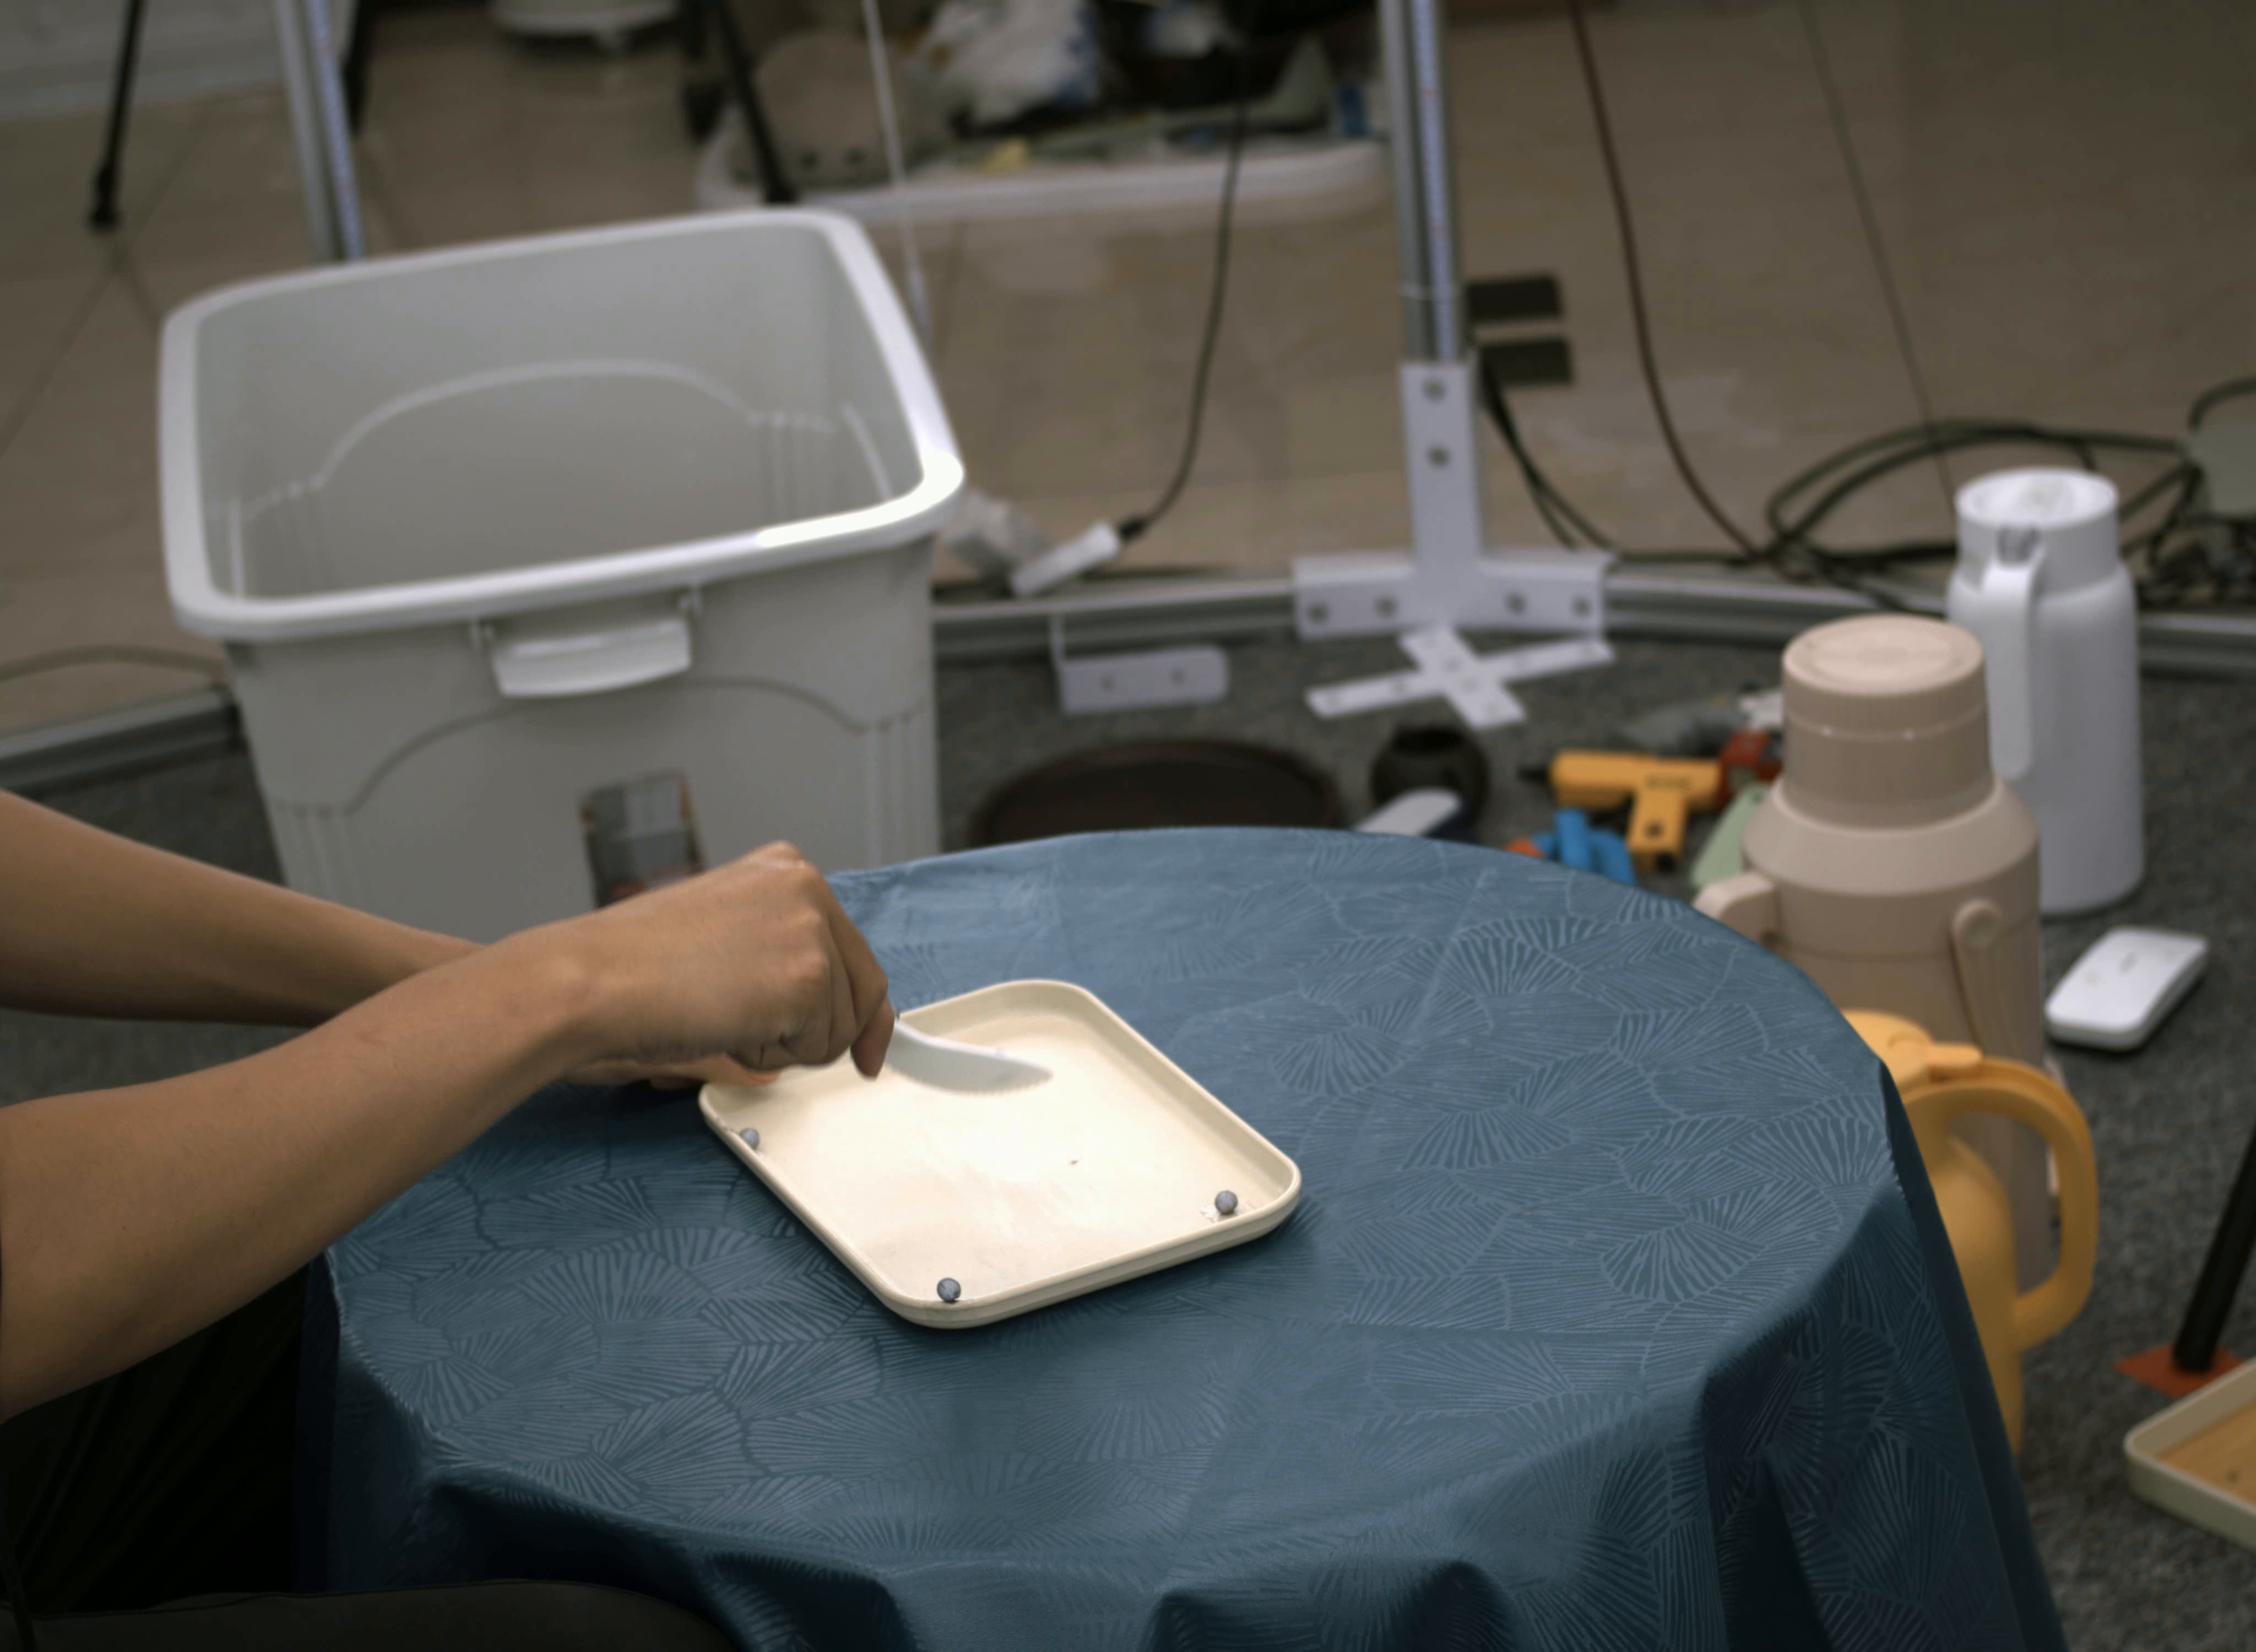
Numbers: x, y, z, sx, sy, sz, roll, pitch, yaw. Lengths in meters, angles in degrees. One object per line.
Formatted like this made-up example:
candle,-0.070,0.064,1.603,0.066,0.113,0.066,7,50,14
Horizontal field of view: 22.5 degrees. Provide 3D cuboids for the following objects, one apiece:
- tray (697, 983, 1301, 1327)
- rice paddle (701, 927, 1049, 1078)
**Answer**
tray,-0.052,0.125,2.174,0.170,0.018,0.237,-15,26,-21
rice paddle,-0.090,0.067,2.026,0.068,0.029,0.206,8,-7,27
